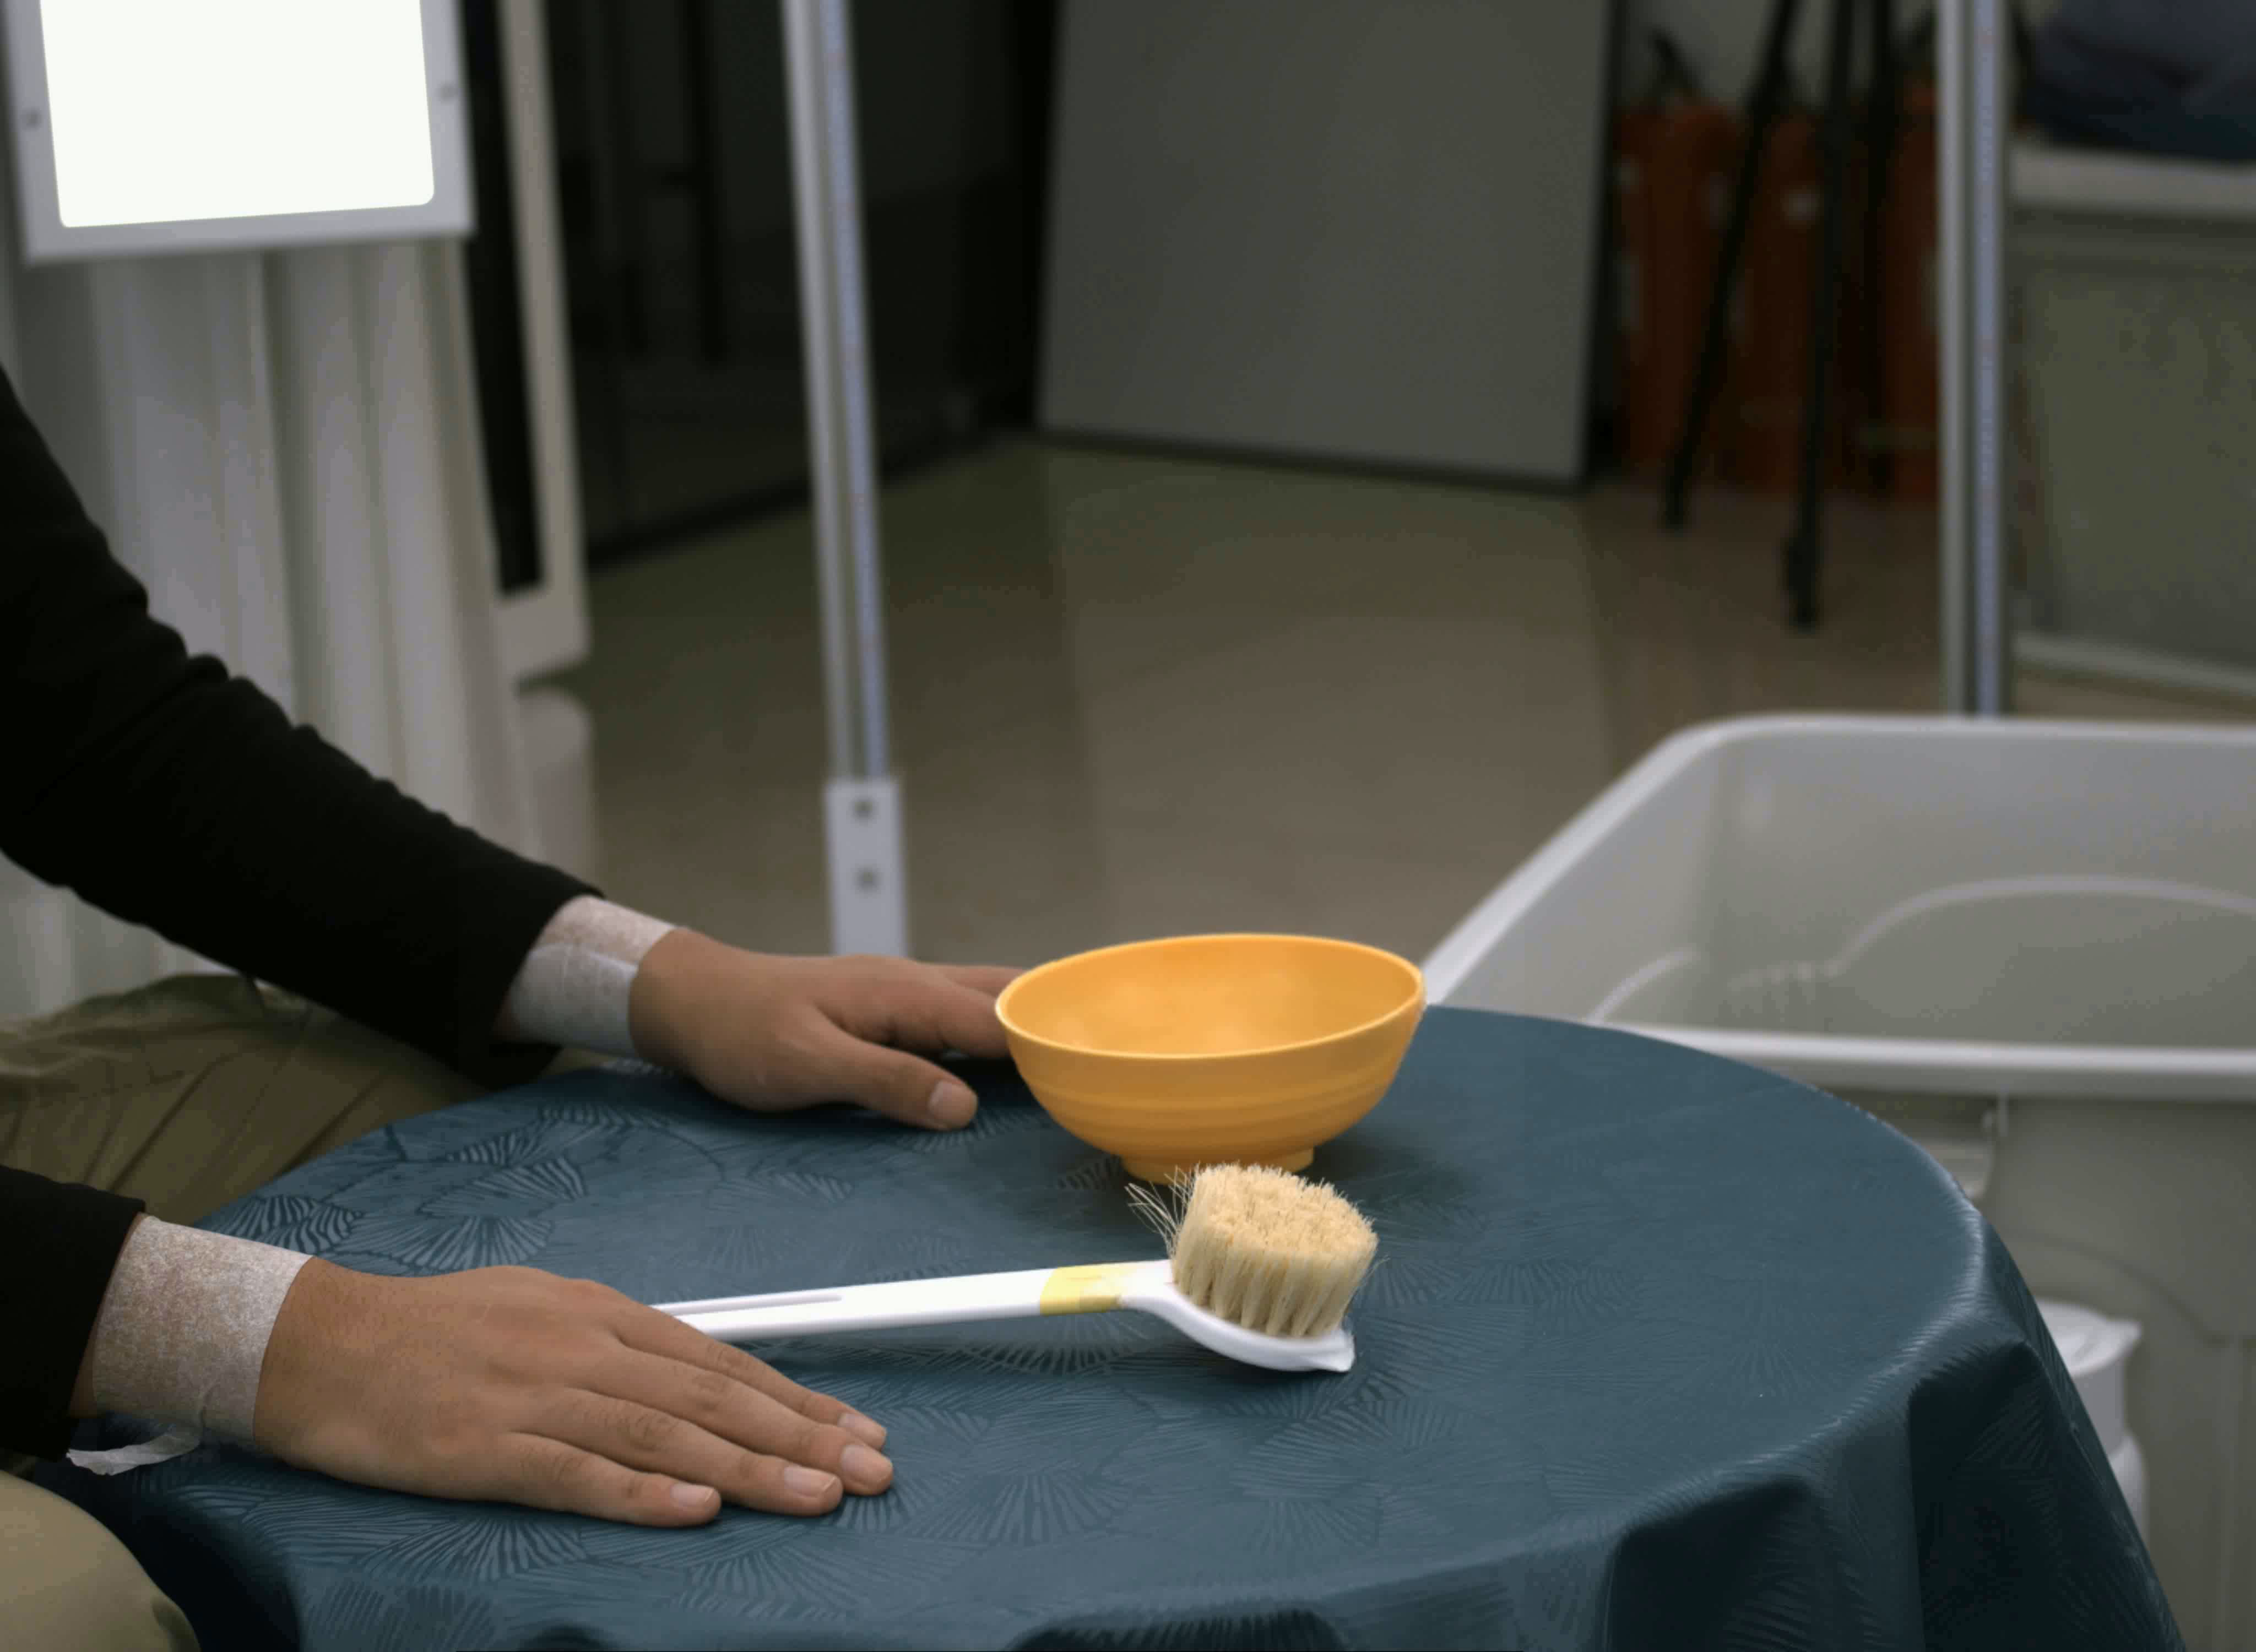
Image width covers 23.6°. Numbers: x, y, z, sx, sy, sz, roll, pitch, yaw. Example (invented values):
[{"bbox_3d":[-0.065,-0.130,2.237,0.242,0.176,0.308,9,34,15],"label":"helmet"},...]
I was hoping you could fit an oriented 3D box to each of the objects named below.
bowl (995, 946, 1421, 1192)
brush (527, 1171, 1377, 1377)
[{"bbox_3d":[0.028,0.084,1.790,0.143,0.061,0.145,-4,12,0],"label":"bowl"},{"bbox_3d":[-0.056,0.135,1.616,0.265,0.057,0.068,-2,9,15],"label":"brush"}]
